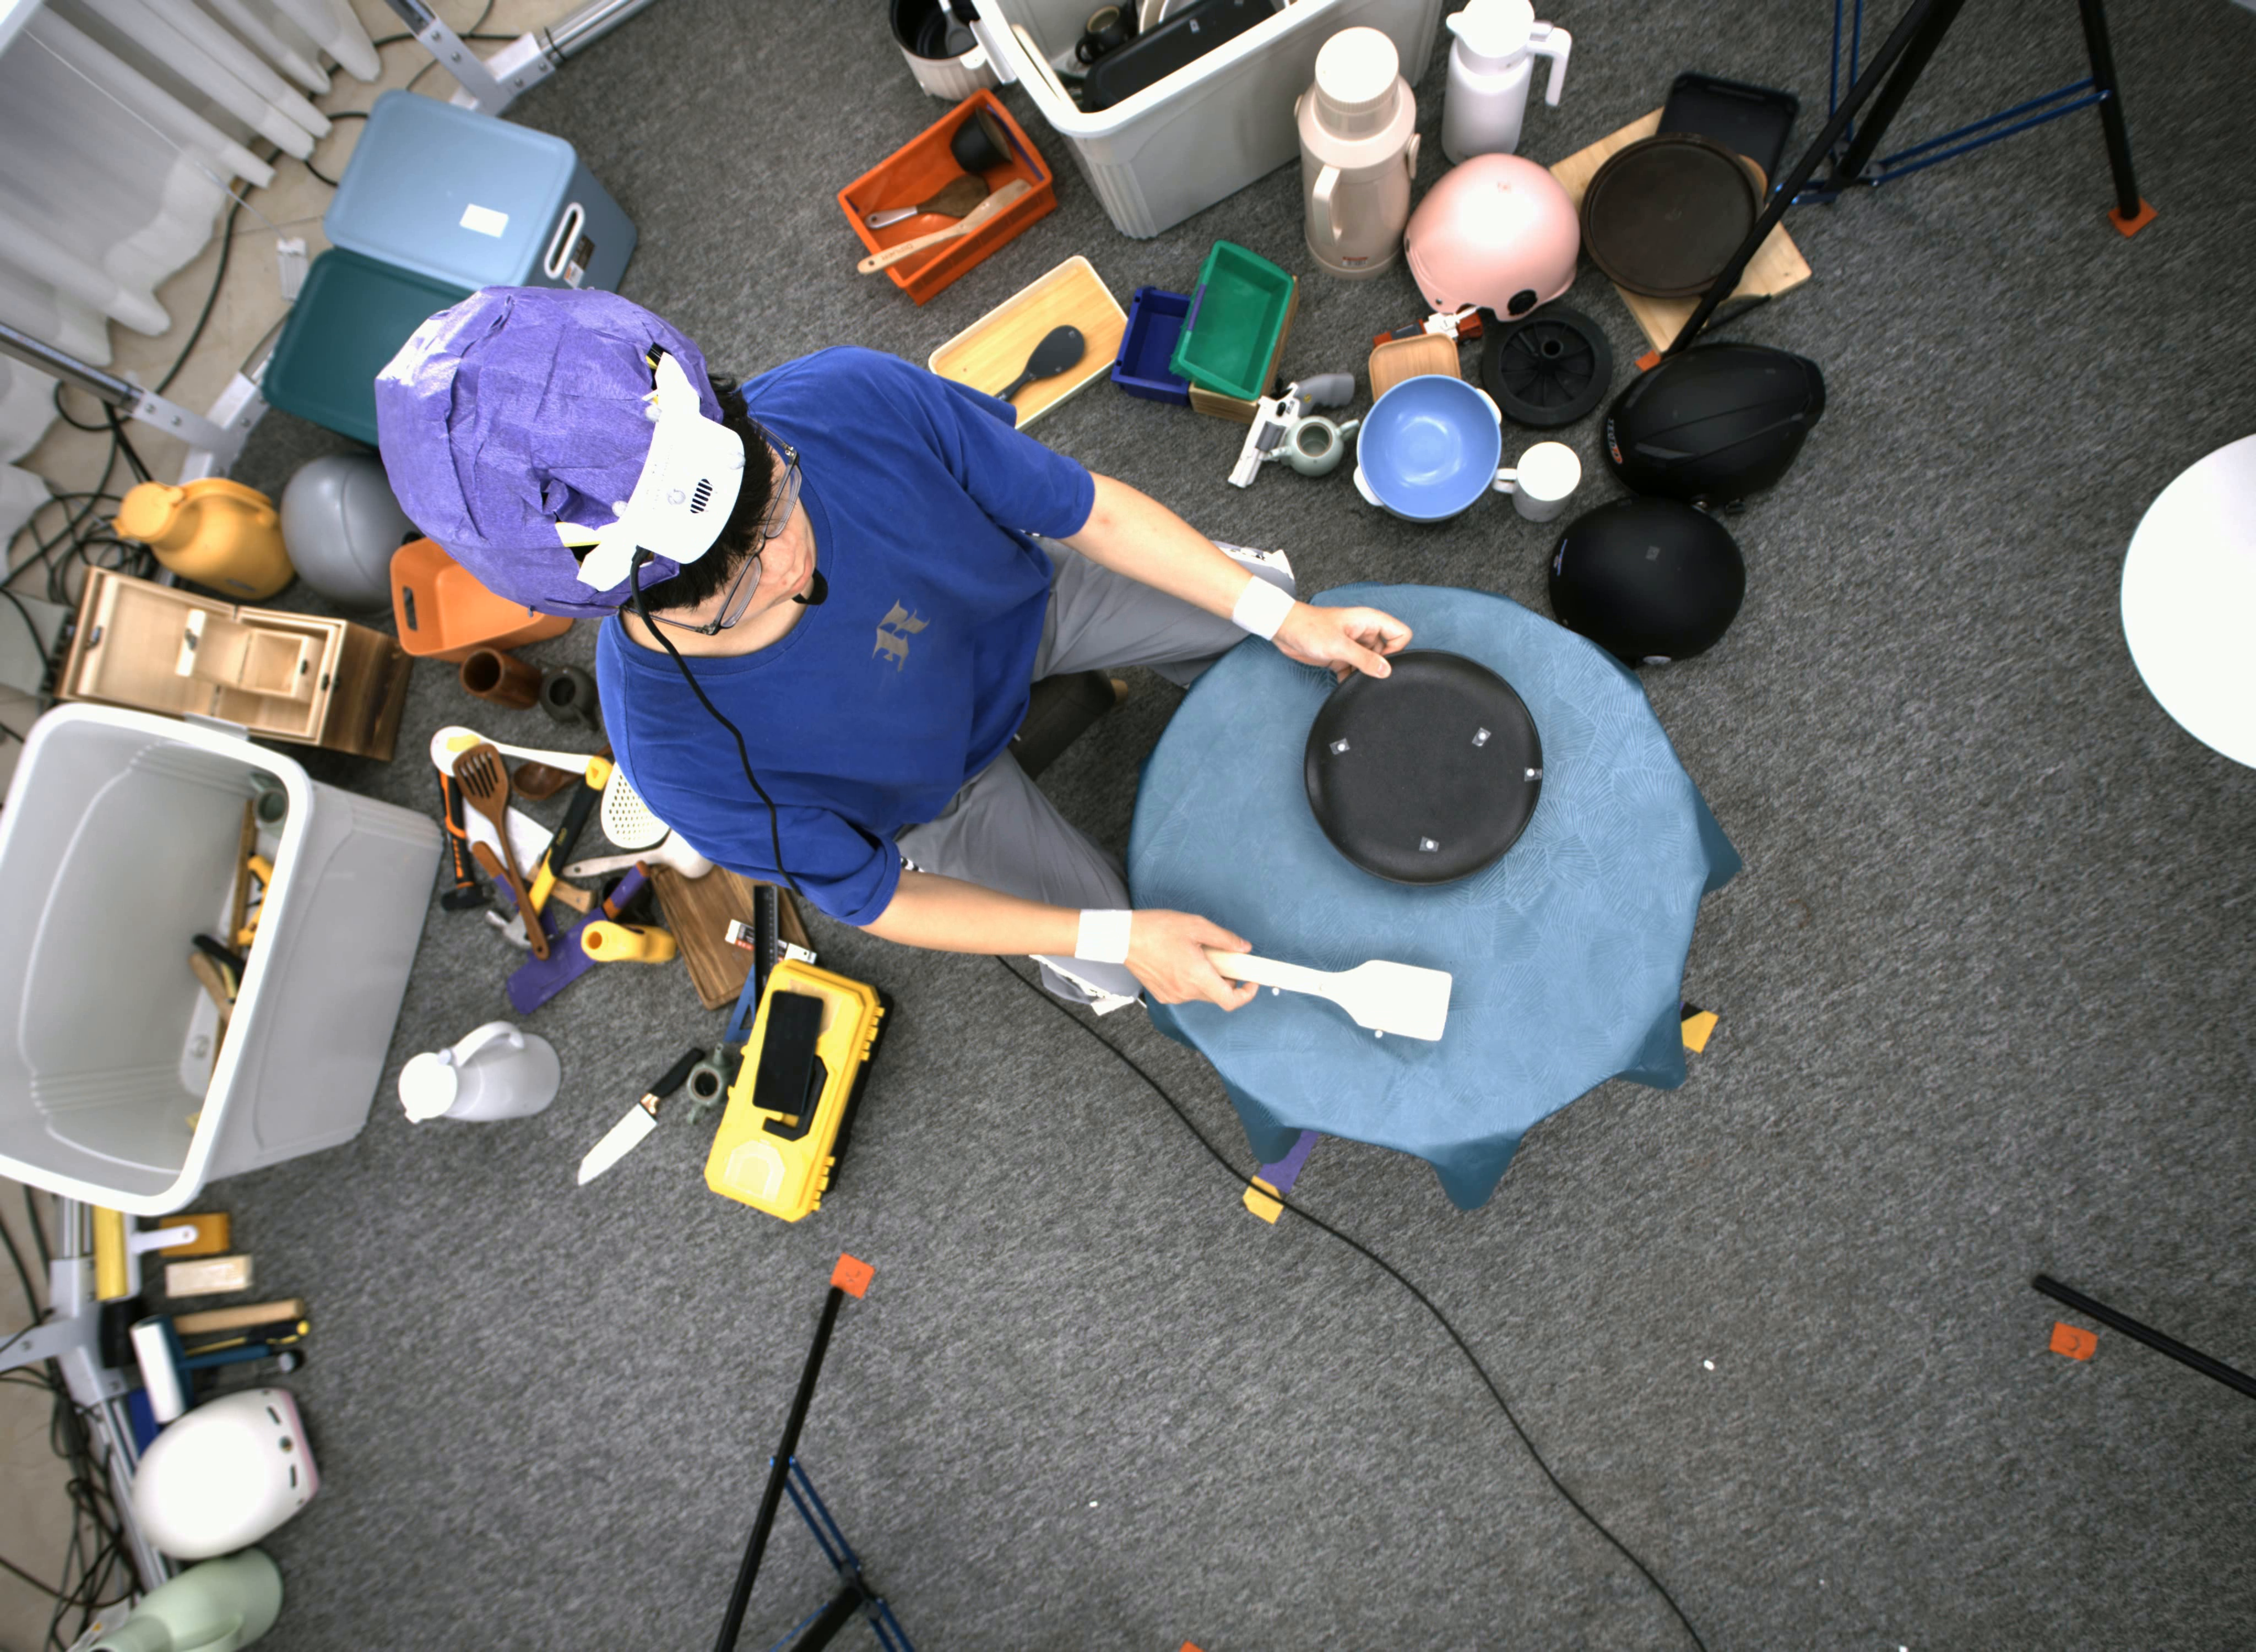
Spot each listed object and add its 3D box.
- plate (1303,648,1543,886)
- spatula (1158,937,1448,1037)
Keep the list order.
[{"bbox_3d":[0.301,-0.062,1.411,0.245,0.023,0.245,1,96,6],"label":"plate"},{"bbox_3d":[0.174,0.152,1.405,0.293,0.011,0.071,10,83,7],"label":"spatula"}]
